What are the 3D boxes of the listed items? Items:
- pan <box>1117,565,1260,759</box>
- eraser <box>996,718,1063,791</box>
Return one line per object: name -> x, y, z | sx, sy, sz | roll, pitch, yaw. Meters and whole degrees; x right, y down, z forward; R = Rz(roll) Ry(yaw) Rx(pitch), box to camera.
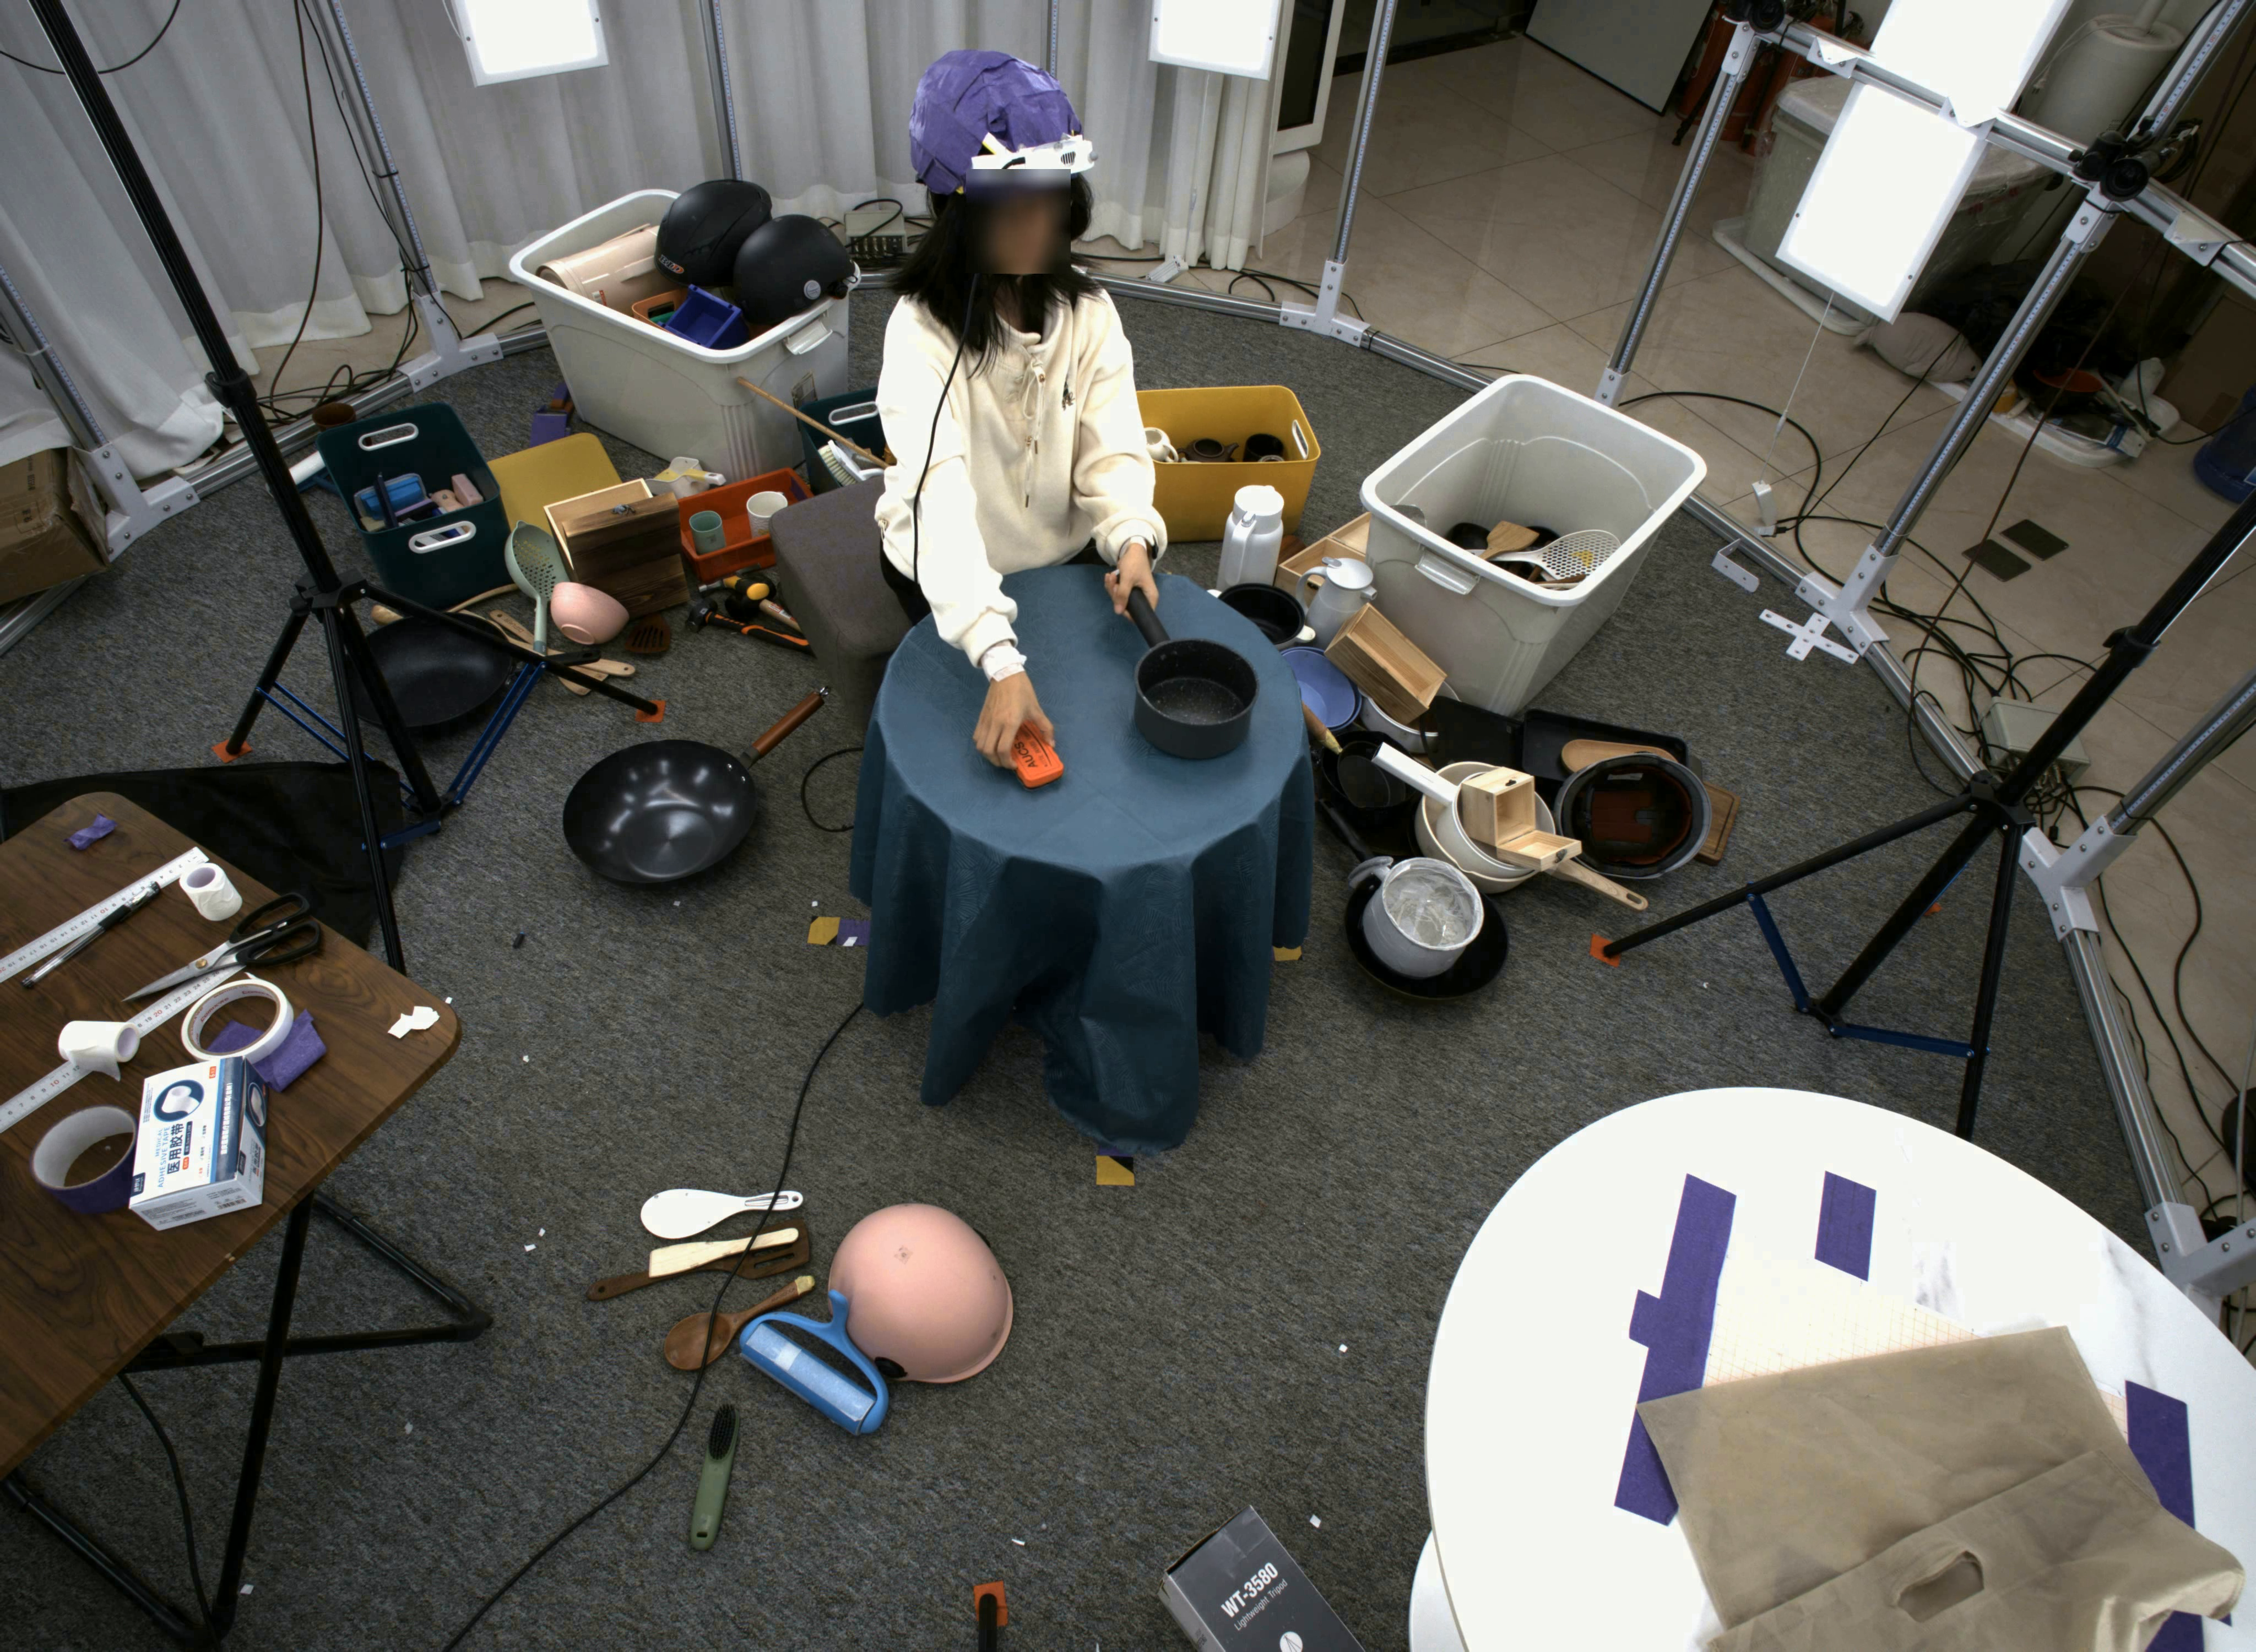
pan -> 0.060, -0.236, 1.824 | 0.172, 0.084, 0.336 | -16, 54, -17
eraser -> -0.133, -0.098, 1.730 | 0.059, 0.022, 0.110 | -19, 53, -19
